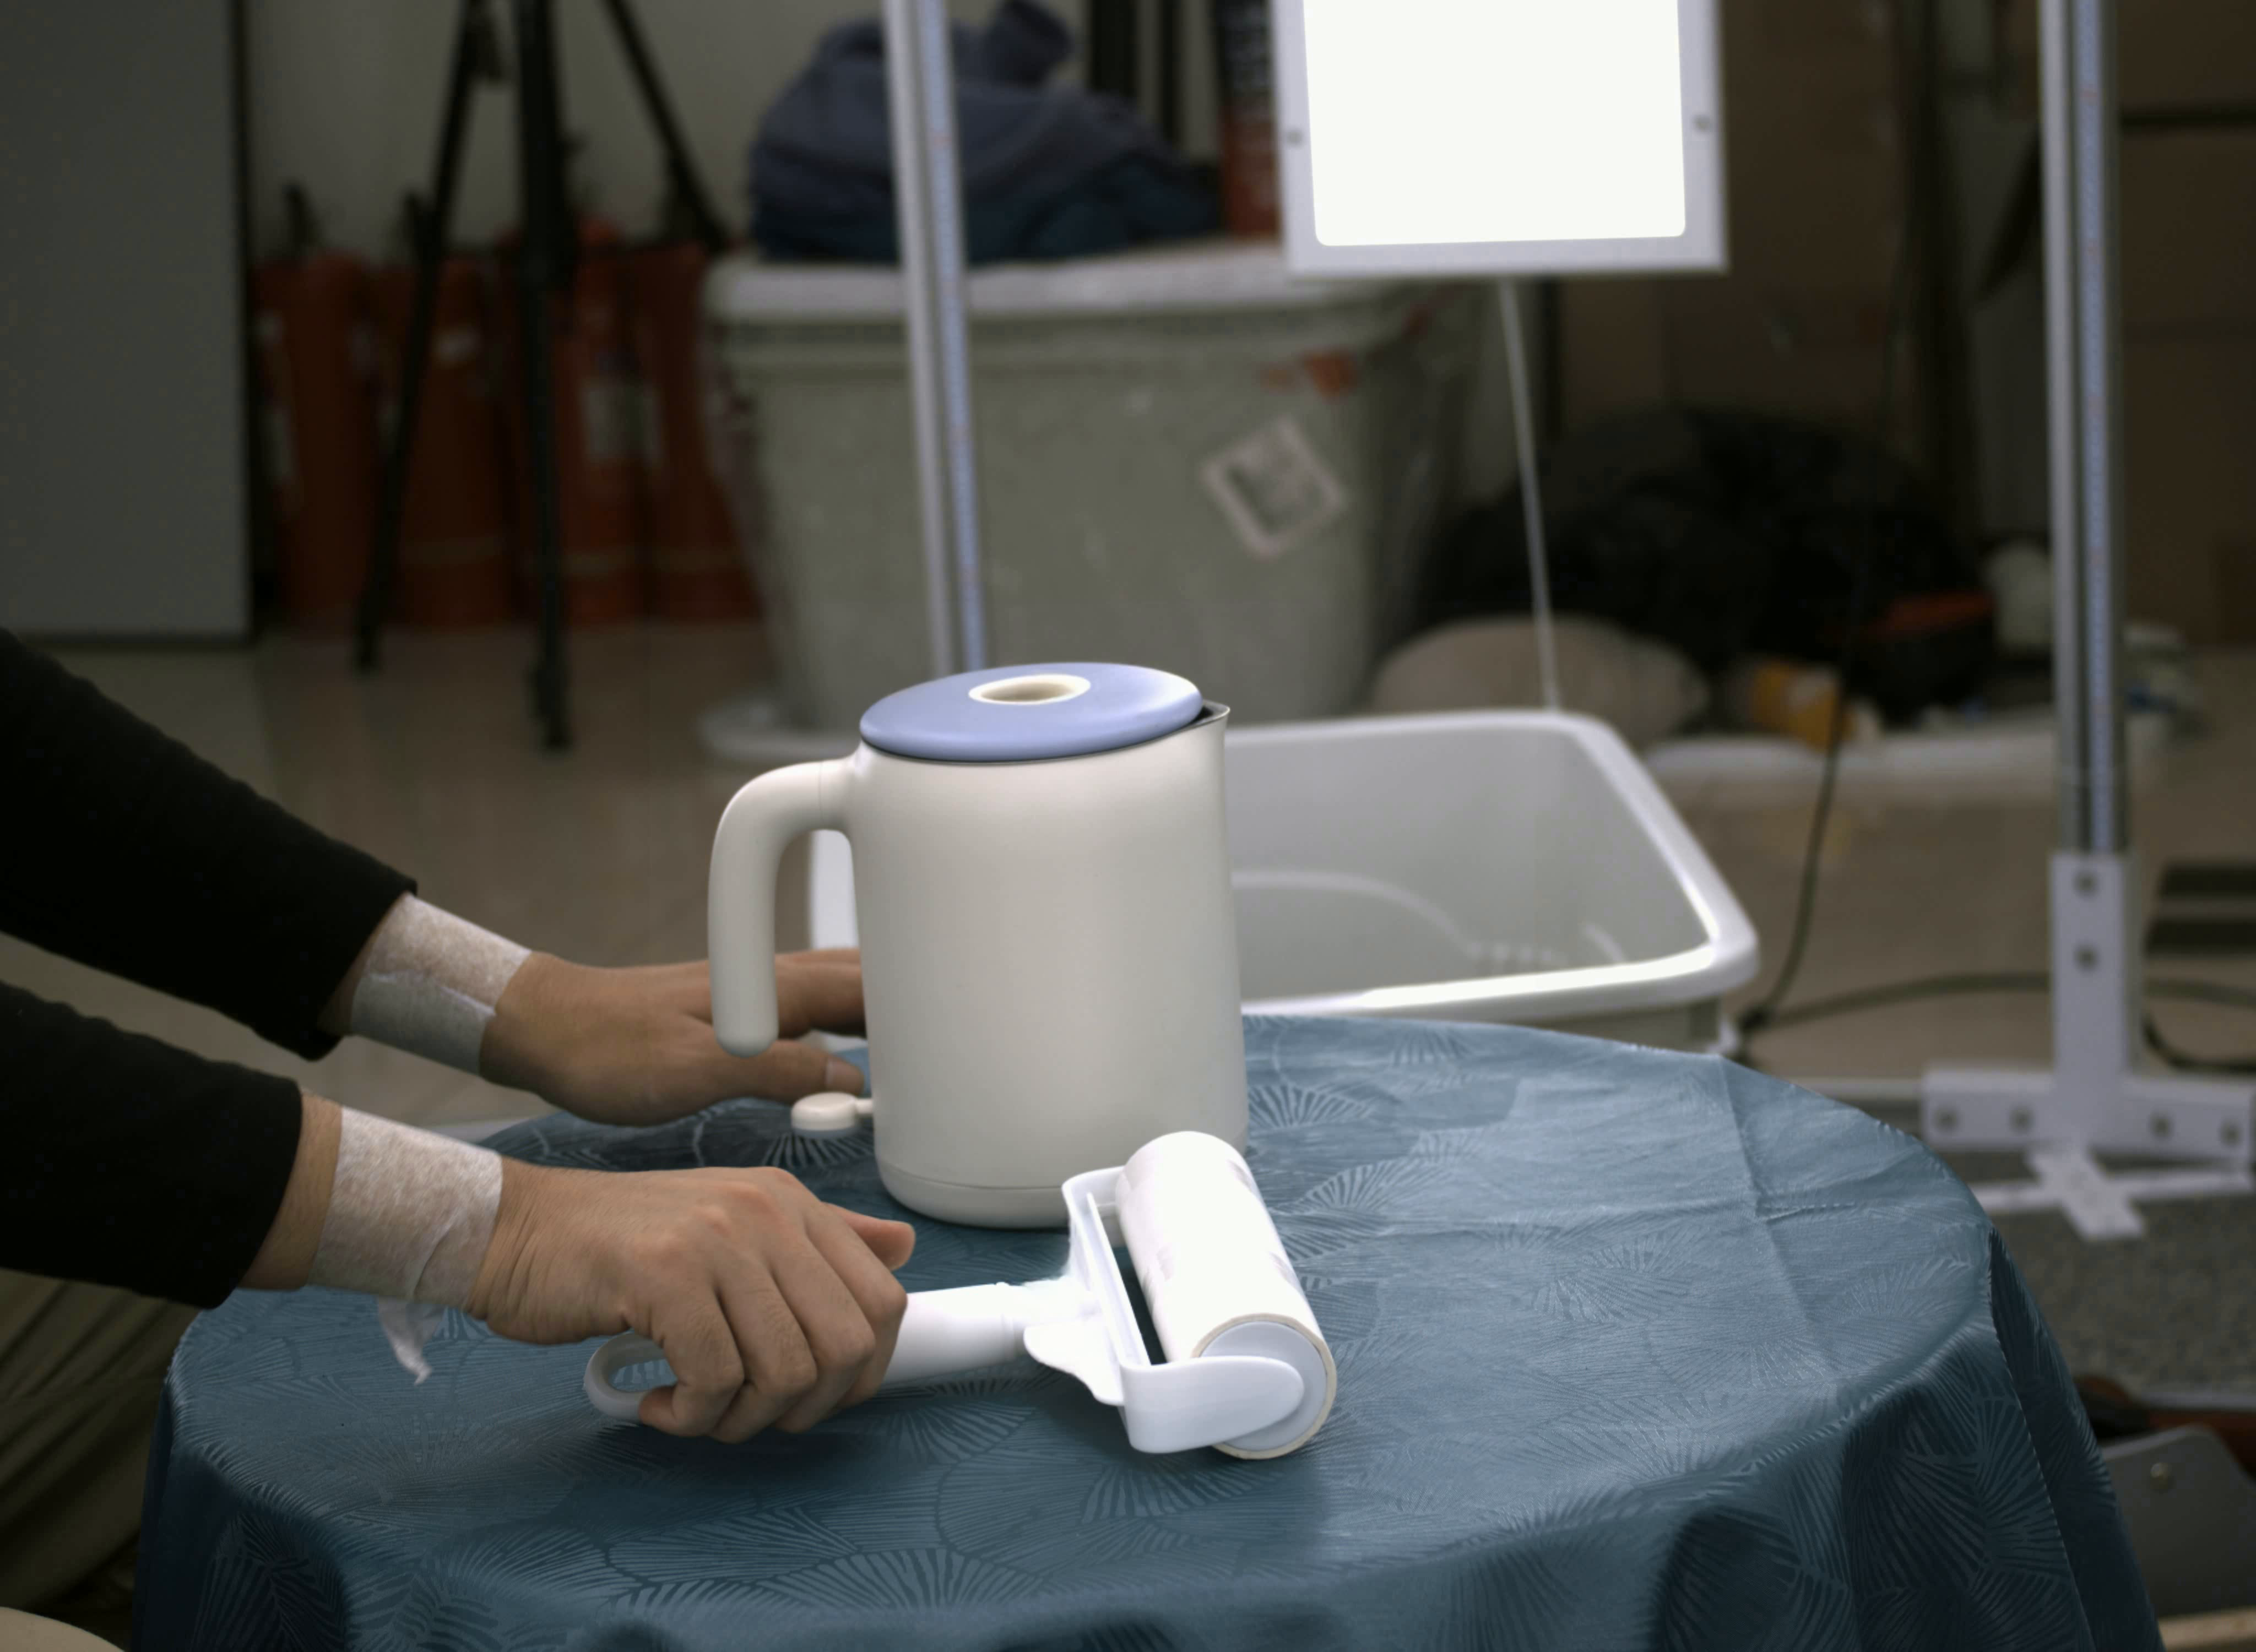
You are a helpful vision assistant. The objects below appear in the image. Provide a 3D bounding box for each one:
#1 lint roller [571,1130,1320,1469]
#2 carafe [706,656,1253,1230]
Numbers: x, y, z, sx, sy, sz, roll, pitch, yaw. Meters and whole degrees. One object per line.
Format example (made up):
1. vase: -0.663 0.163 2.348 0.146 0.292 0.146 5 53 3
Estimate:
1. lint roller: -0.062 0.155 1.713 0.224 0.048 0.203 -7 15 -4
2. carafe: -0.052 0.042 1.902 0.191 0.183 0.131 -6 13 6
